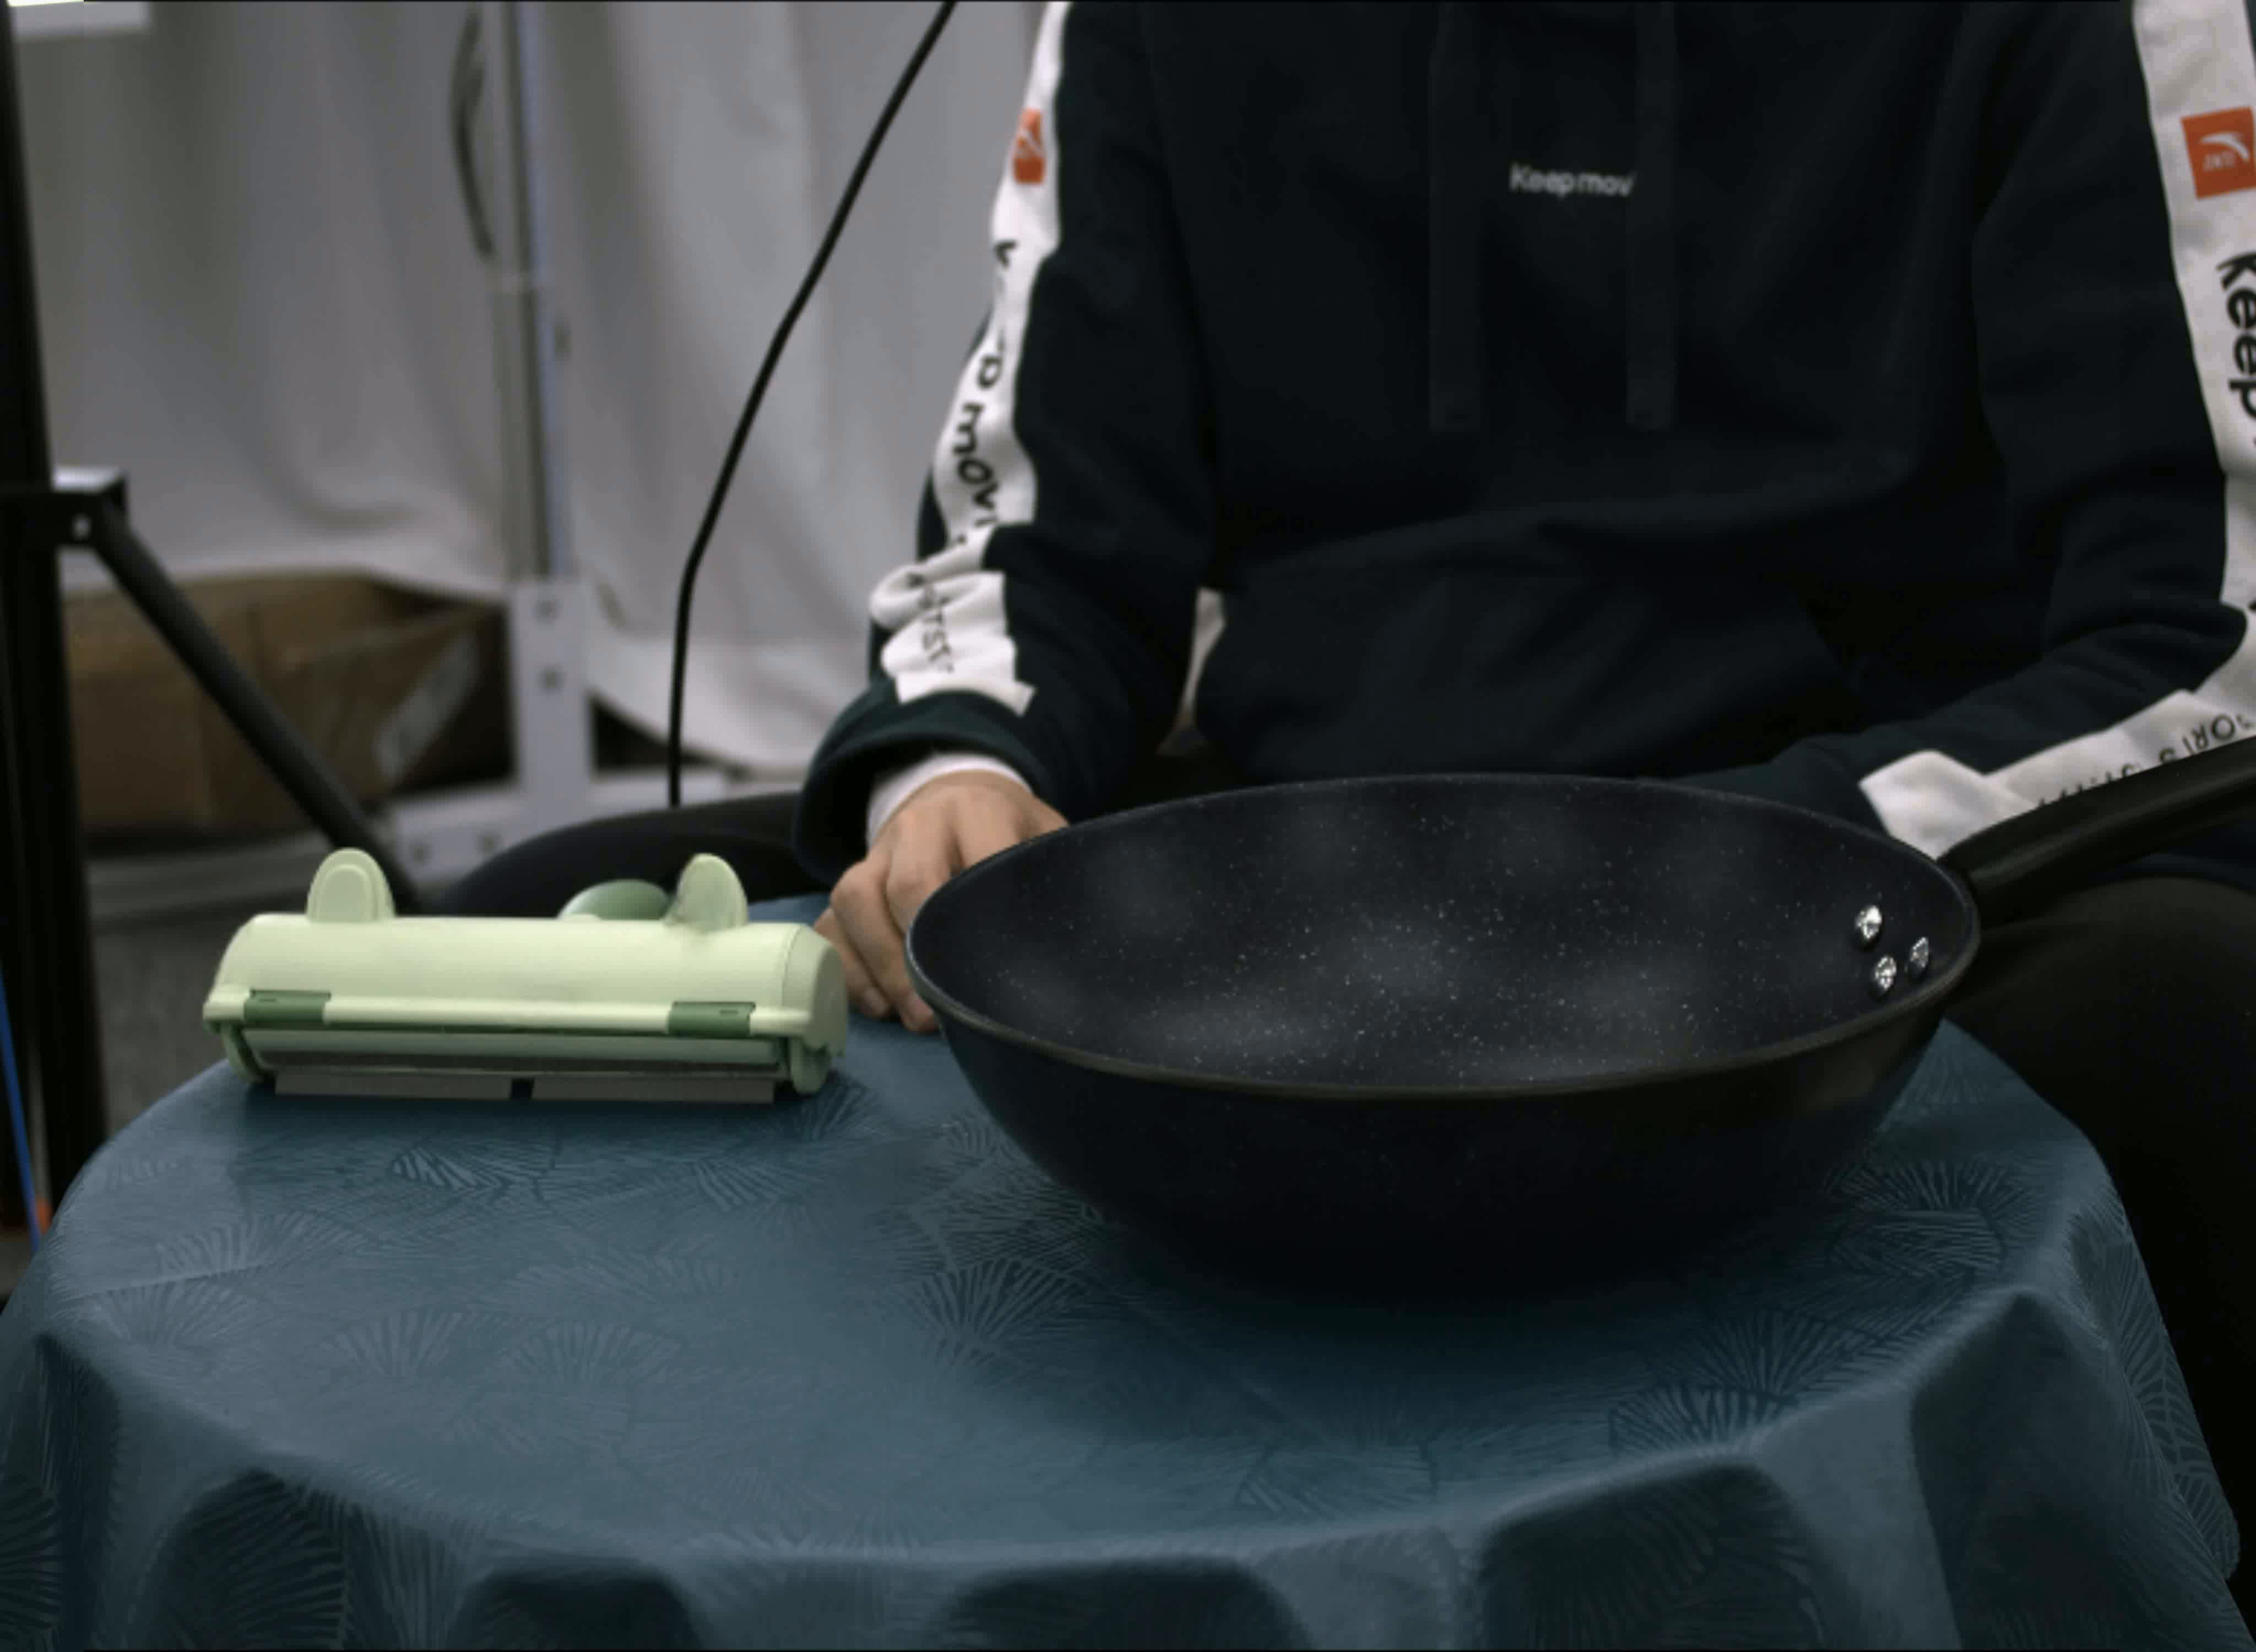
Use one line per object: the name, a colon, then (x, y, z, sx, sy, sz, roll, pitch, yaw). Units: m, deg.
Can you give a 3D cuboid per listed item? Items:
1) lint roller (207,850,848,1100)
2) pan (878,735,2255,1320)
lint roller: (-0.178, 0.030, 1.726, 0.200, 0.082, 0.183, 0, 21, 12)
pan: (0.163, 0.049, 1.544, 0.470, 0.111, 0.315, -8, 18, -14)
